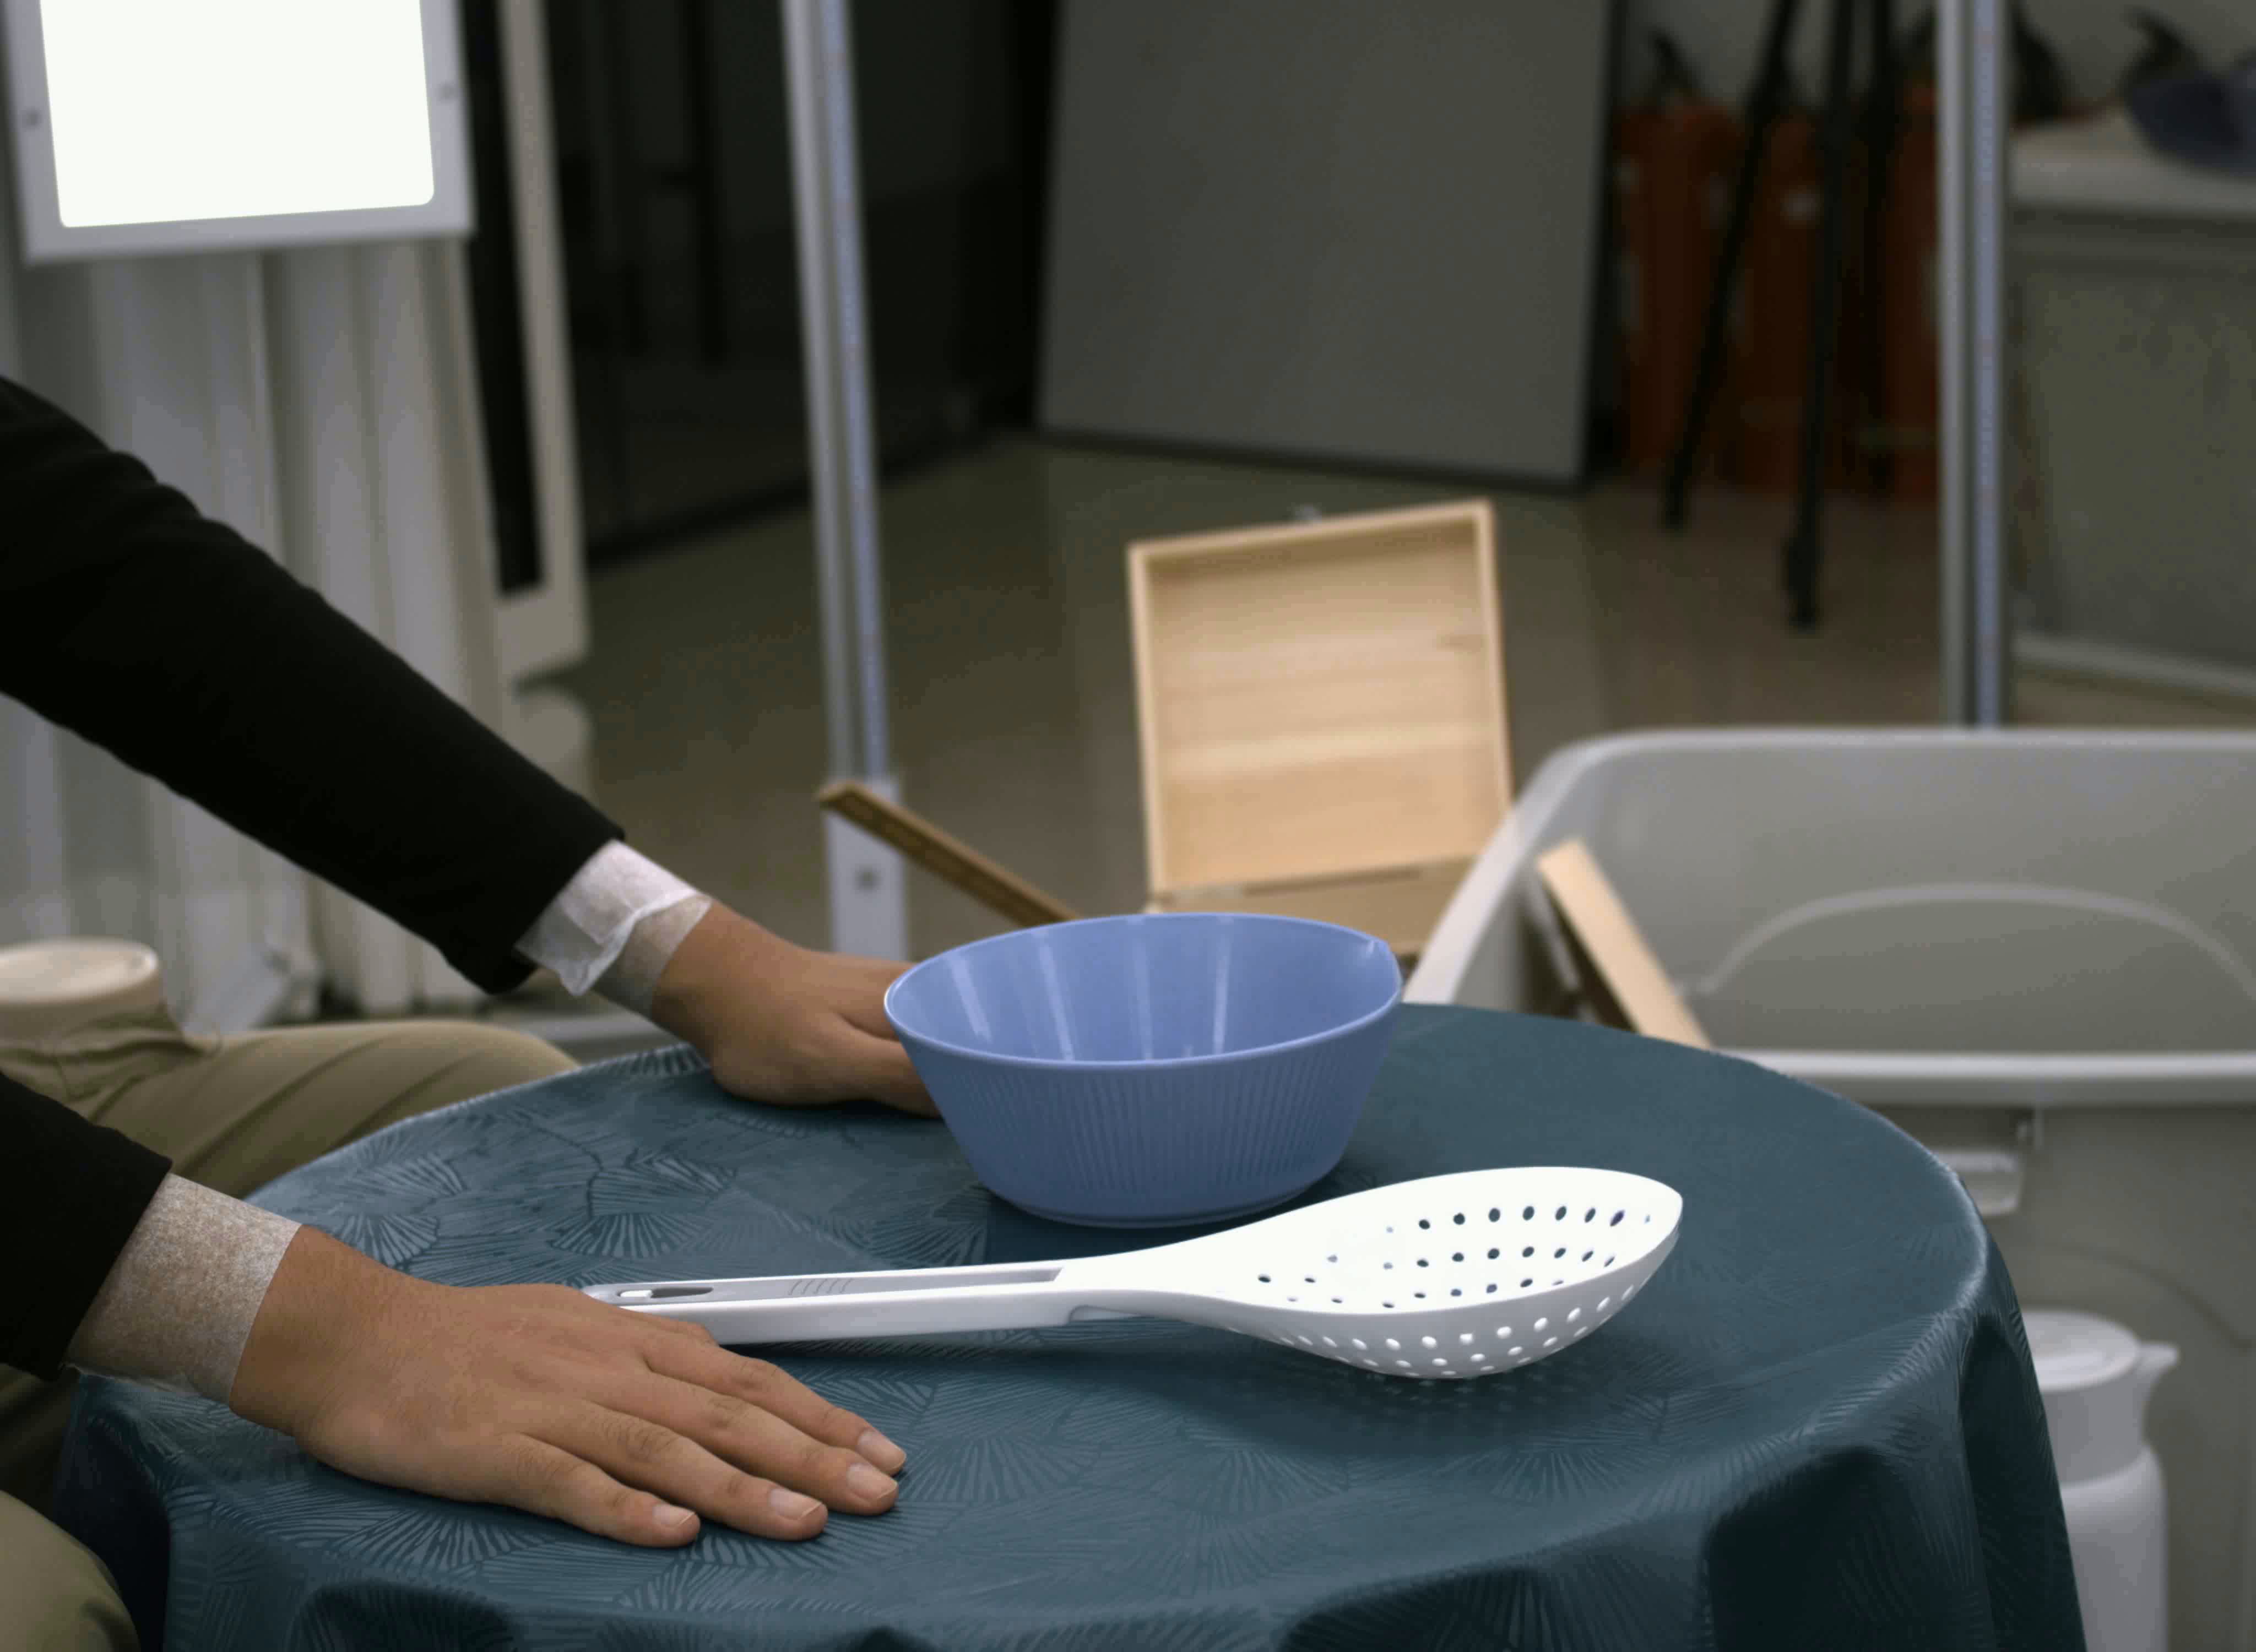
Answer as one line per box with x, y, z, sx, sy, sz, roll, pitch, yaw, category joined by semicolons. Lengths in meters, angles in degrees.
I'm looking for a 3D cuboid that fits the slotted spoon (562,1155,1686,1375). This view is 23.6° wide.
-0.004;0.137;1.609;0.348;0.046;0.135;-2;14;15;slotted spoon

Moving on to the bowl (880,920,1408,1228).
0.008;0.083;1.774;0.174;0.071;0.176;-5;13;0;bowl
